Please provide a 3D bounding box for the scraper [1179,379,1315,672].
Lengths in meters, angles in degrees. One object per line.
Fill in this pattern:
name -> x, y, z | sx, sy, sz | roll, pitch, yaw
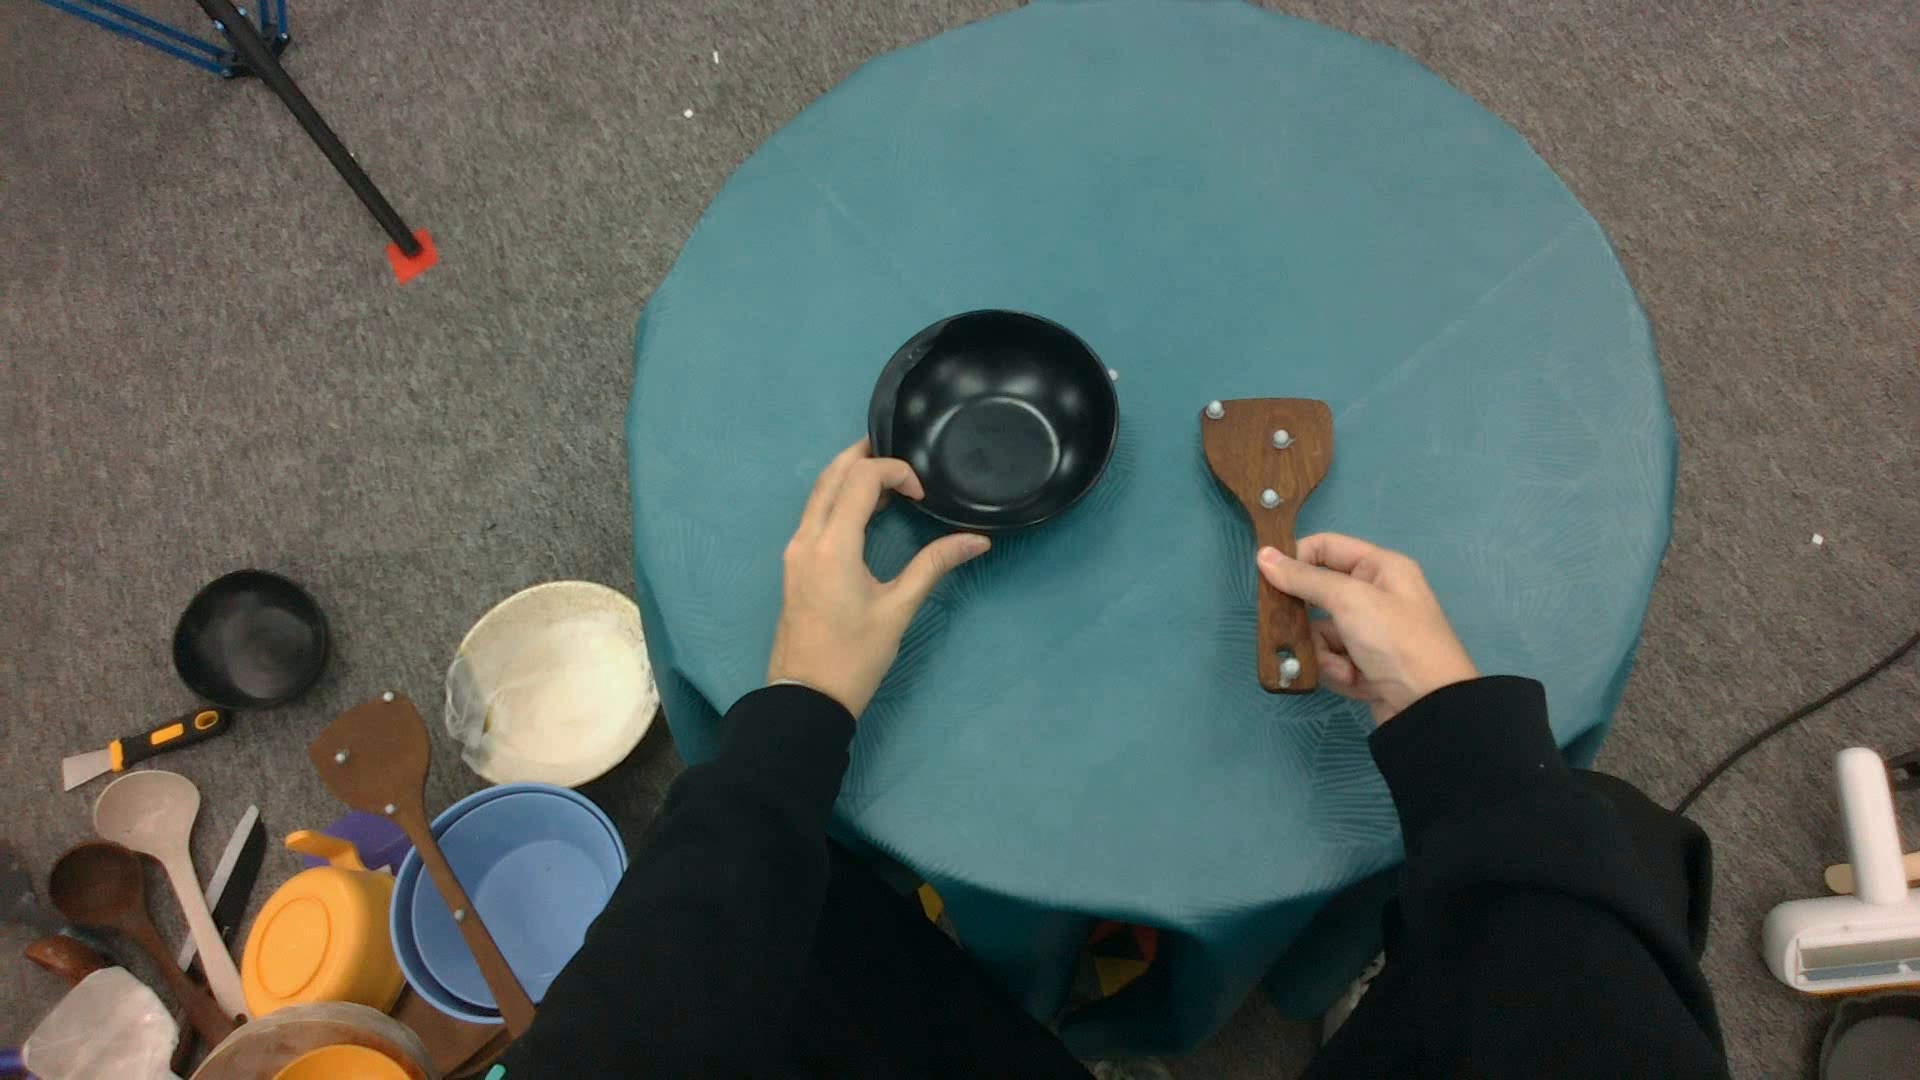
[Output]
scraper -> 0.155, -0.014, 0.723 | 0.076, 0.011, 0.212 | 3, 46, 4

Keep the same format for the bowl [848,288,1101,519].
bowl -> 0.008, -0.069, 0.771 | 0.140, 0.049, 0.140 | 0, 67, 0
